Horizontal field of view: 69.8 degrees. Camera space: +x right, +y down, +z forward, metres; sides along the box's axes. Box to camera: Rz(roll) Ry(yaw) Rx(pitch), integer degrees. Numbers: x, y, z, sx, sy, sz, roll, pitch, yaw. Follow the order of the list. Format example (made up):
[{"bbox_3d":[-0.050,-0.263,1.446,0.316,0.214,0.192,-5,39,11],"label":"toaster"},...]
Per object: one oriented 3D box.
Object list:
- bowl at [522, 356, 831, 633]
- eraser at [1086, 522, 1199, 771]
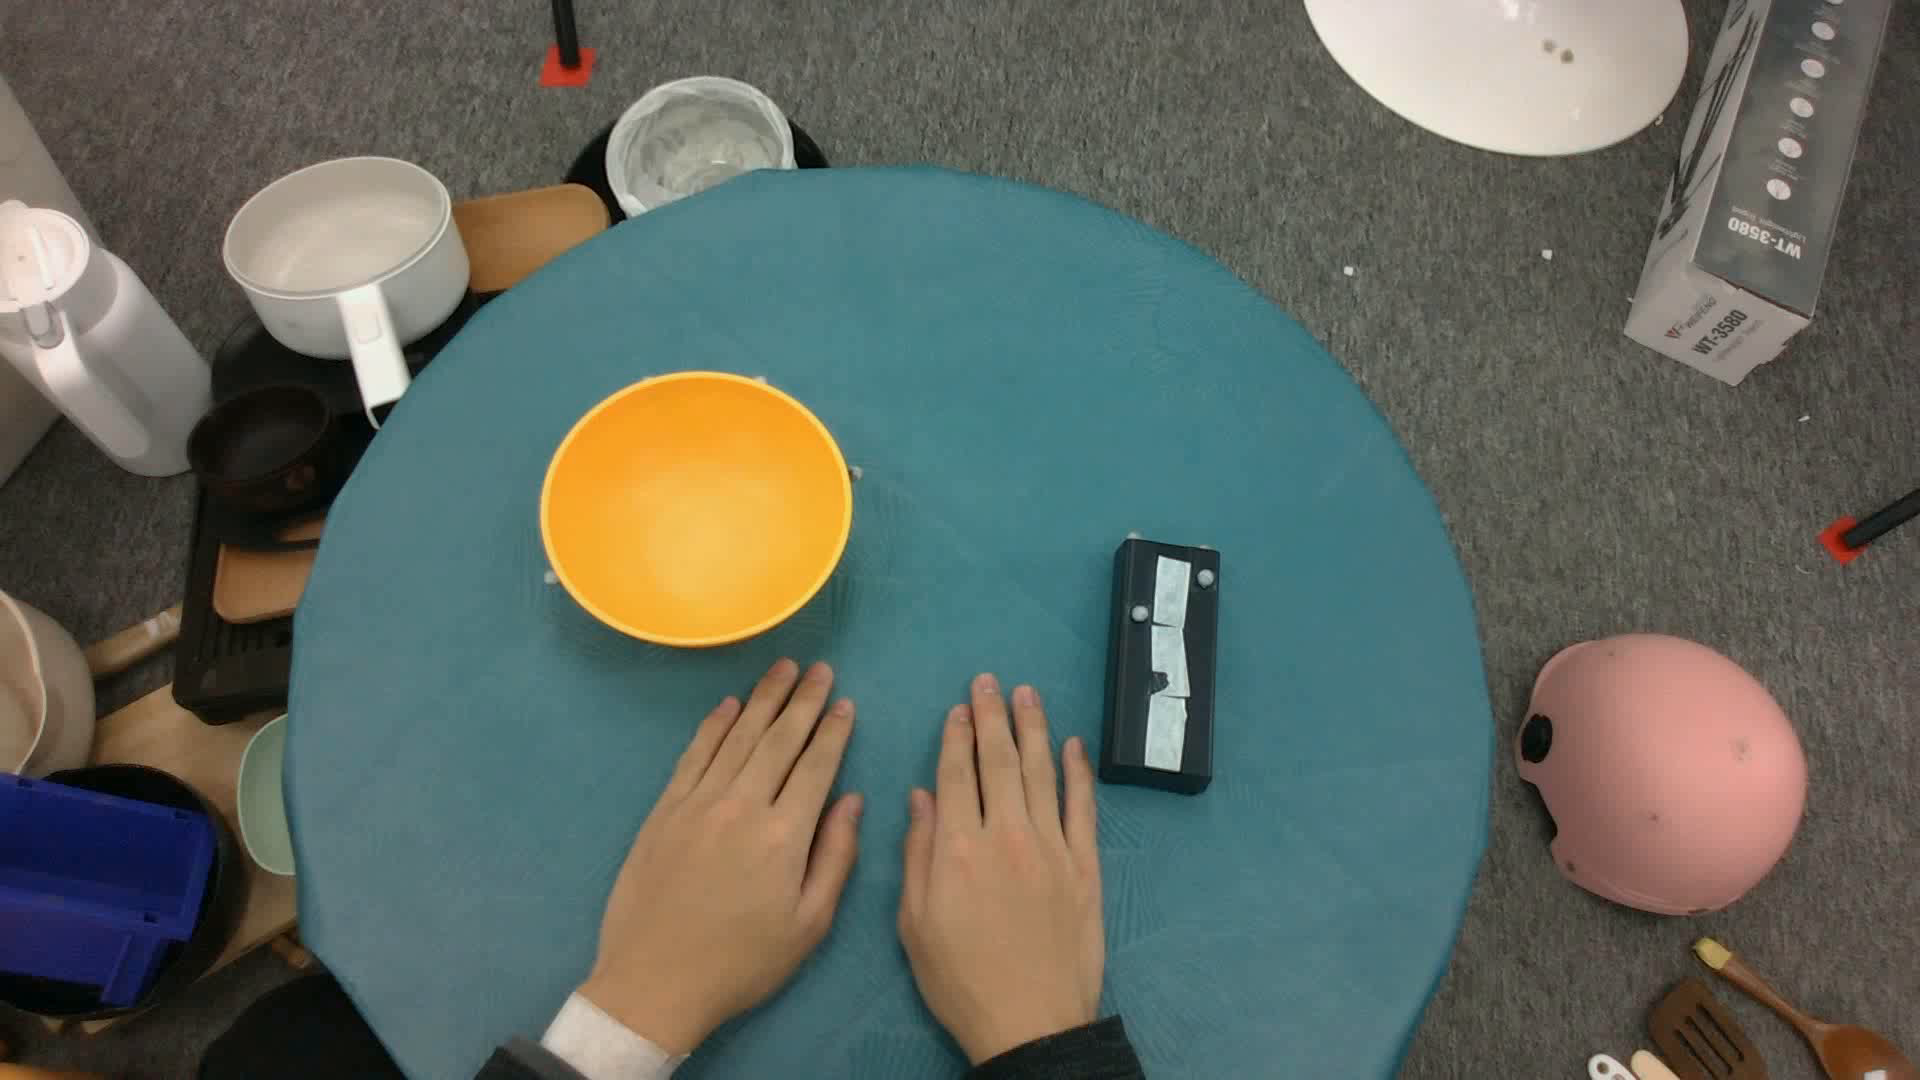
[{"bbox_3d":[-0.136,-0.014,0.678,0.145,0.060,0.146,2,67,-4],"label":"bowl"},{"bbox_3d":[0.092,0.052,0.694,0.053,0.030,0.126,5,66,-1],"label":"eraser"}]
